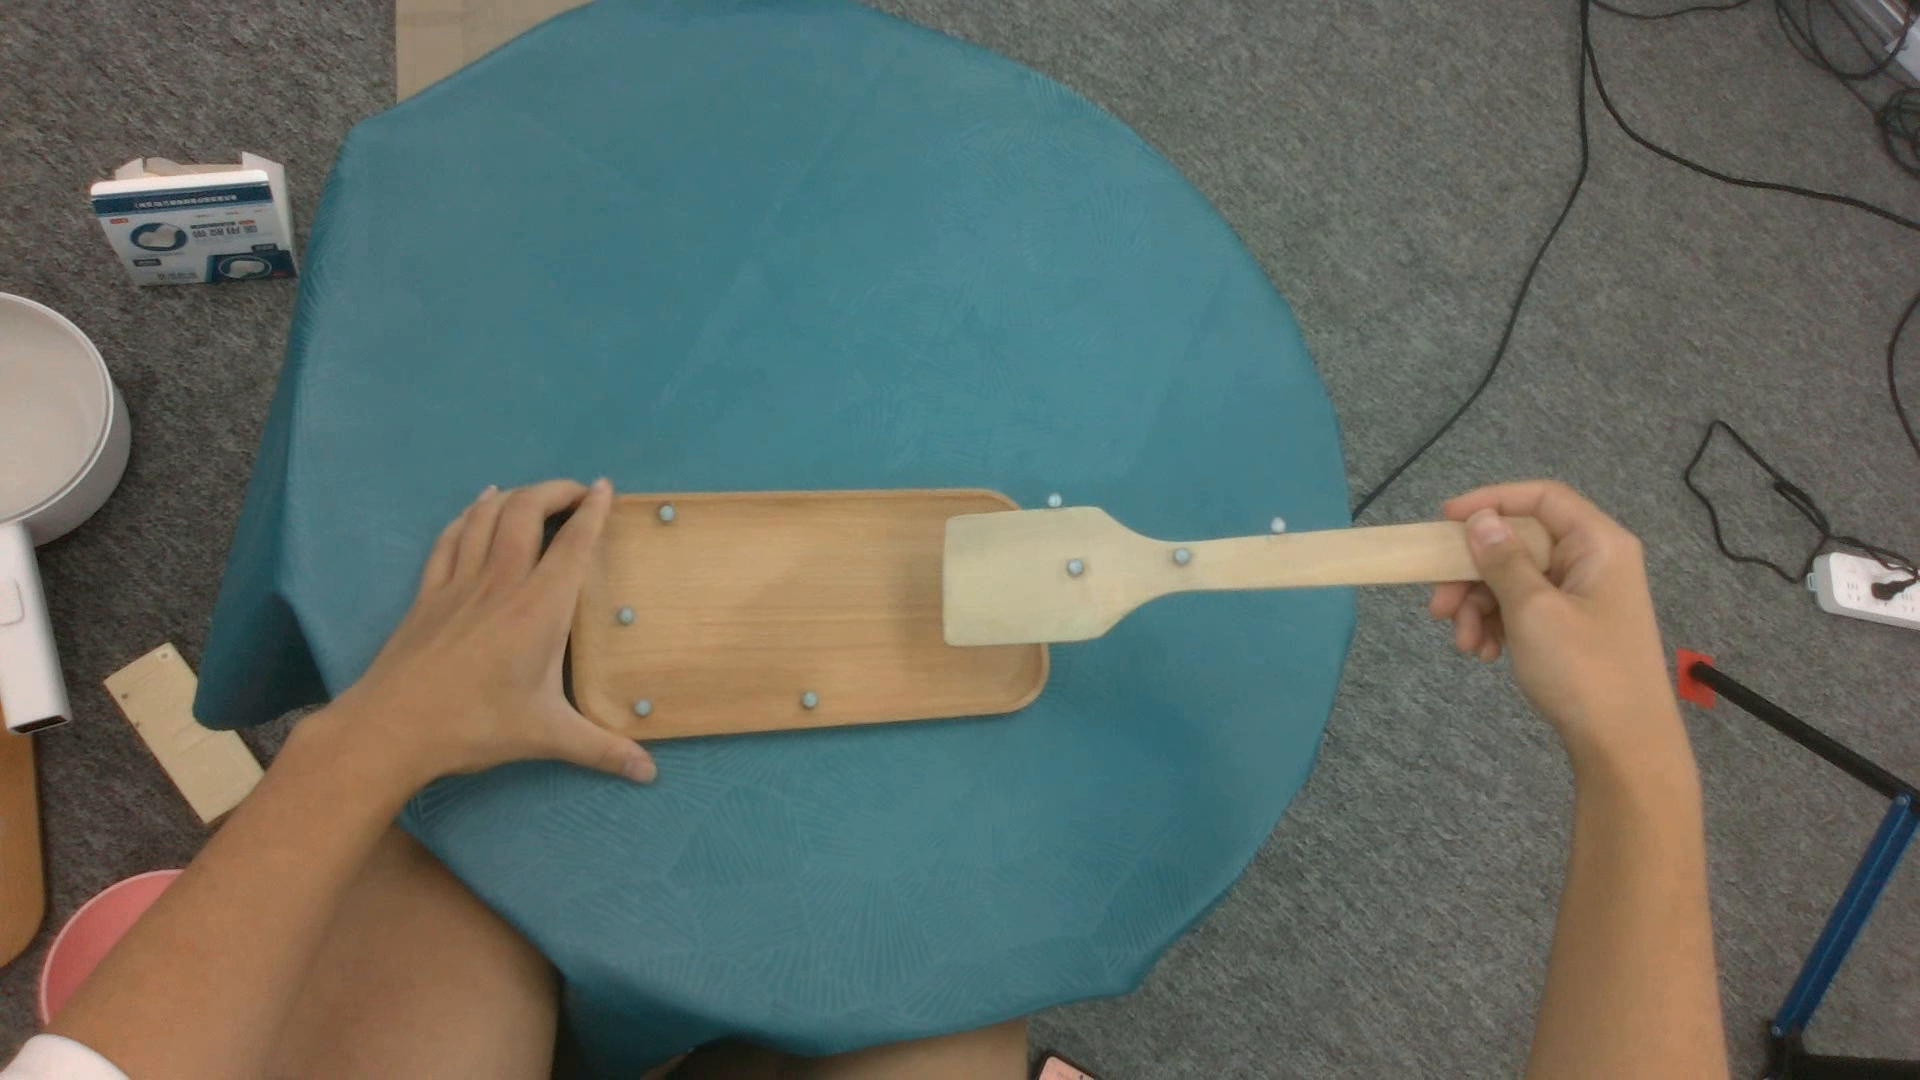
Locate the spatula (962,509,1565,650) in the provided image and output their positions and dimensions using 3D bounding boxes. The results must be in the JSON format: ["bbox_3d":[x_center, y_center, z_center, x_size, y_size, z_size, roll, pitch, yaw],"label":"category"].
[{"bbox_3d":[0.136,0.011,0.673,0.292,0.010,0.072,-5,76,23],"label":"spatula"}]

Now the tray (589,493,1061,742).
[{"bbox_3d":[-0.069,0.038,0.740,0.251,0.023,0.131,-1,75,-18],"label":"tray"}]
